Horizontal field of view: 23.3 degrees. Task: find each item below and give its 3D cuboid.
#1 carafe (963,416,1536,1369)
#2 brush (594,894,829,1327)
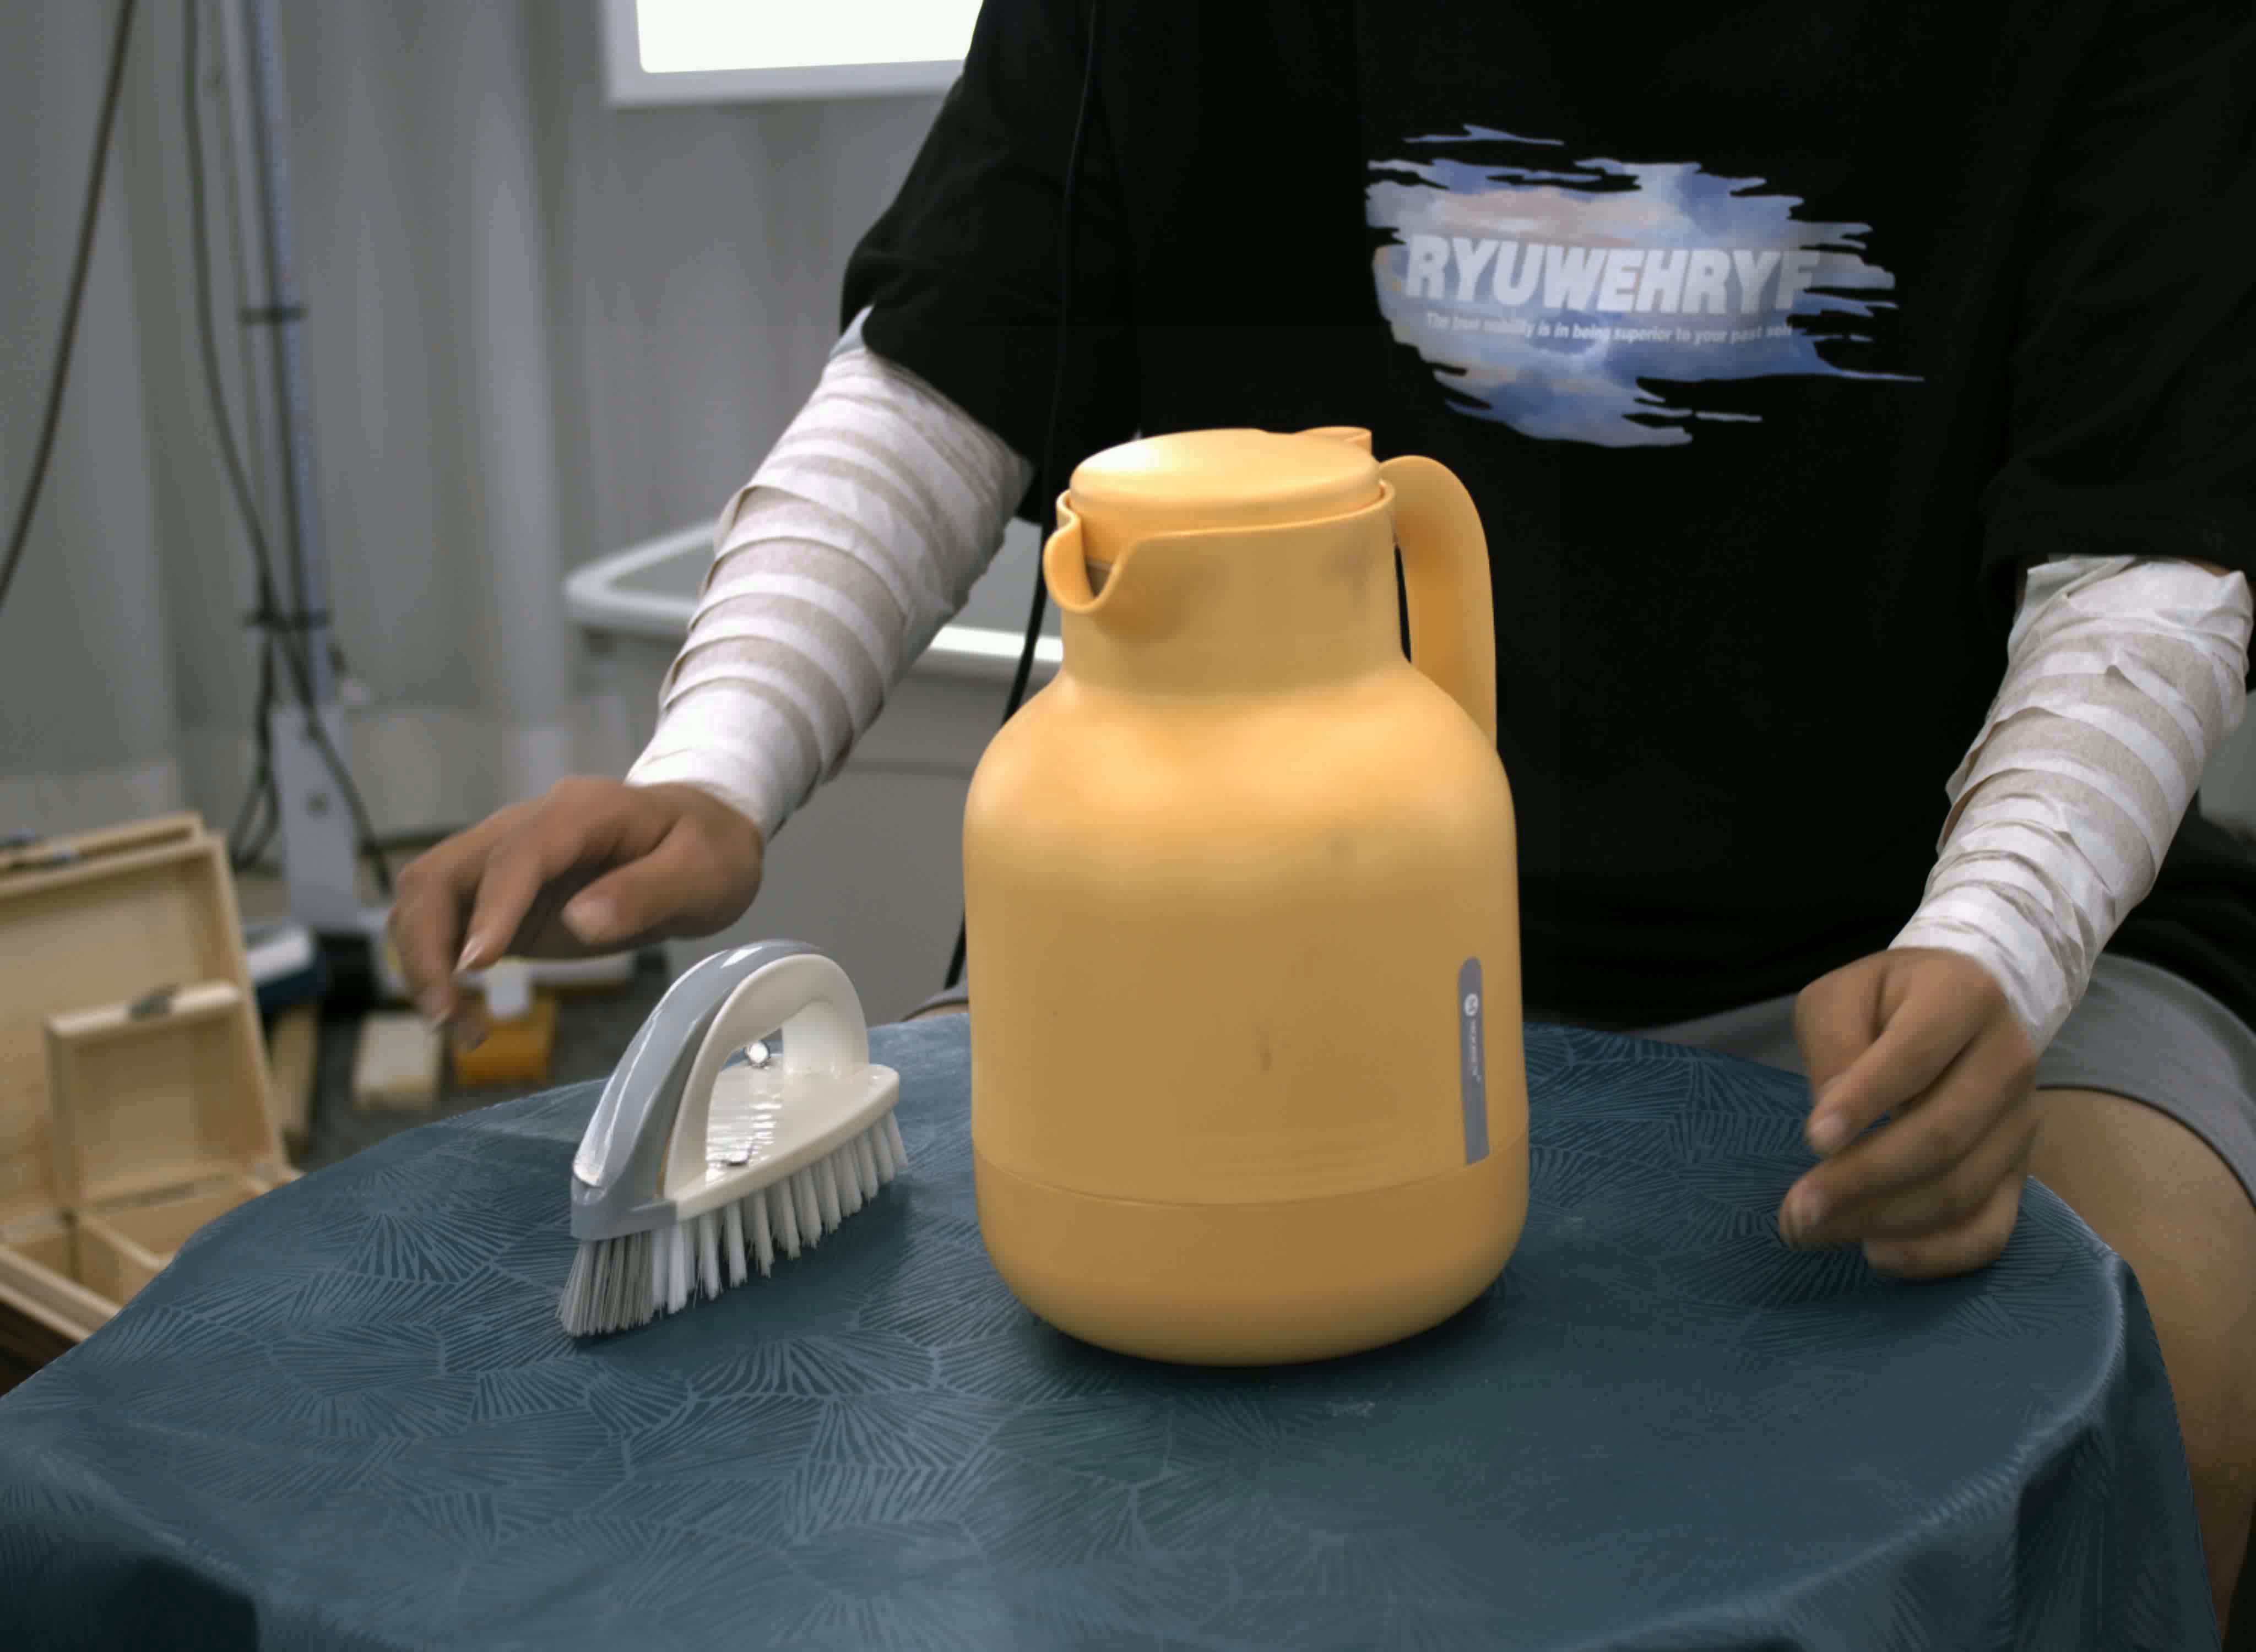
[{"bbox_3d":[0.046,0.011,1.591,0.164,0.259,0.202,10,20,37],"label":"carafe"},{"bbox_3d":[-0.136,0.080,1.679,0.061,0.093,0.177,-5,19,10],"label":"brush"}]
